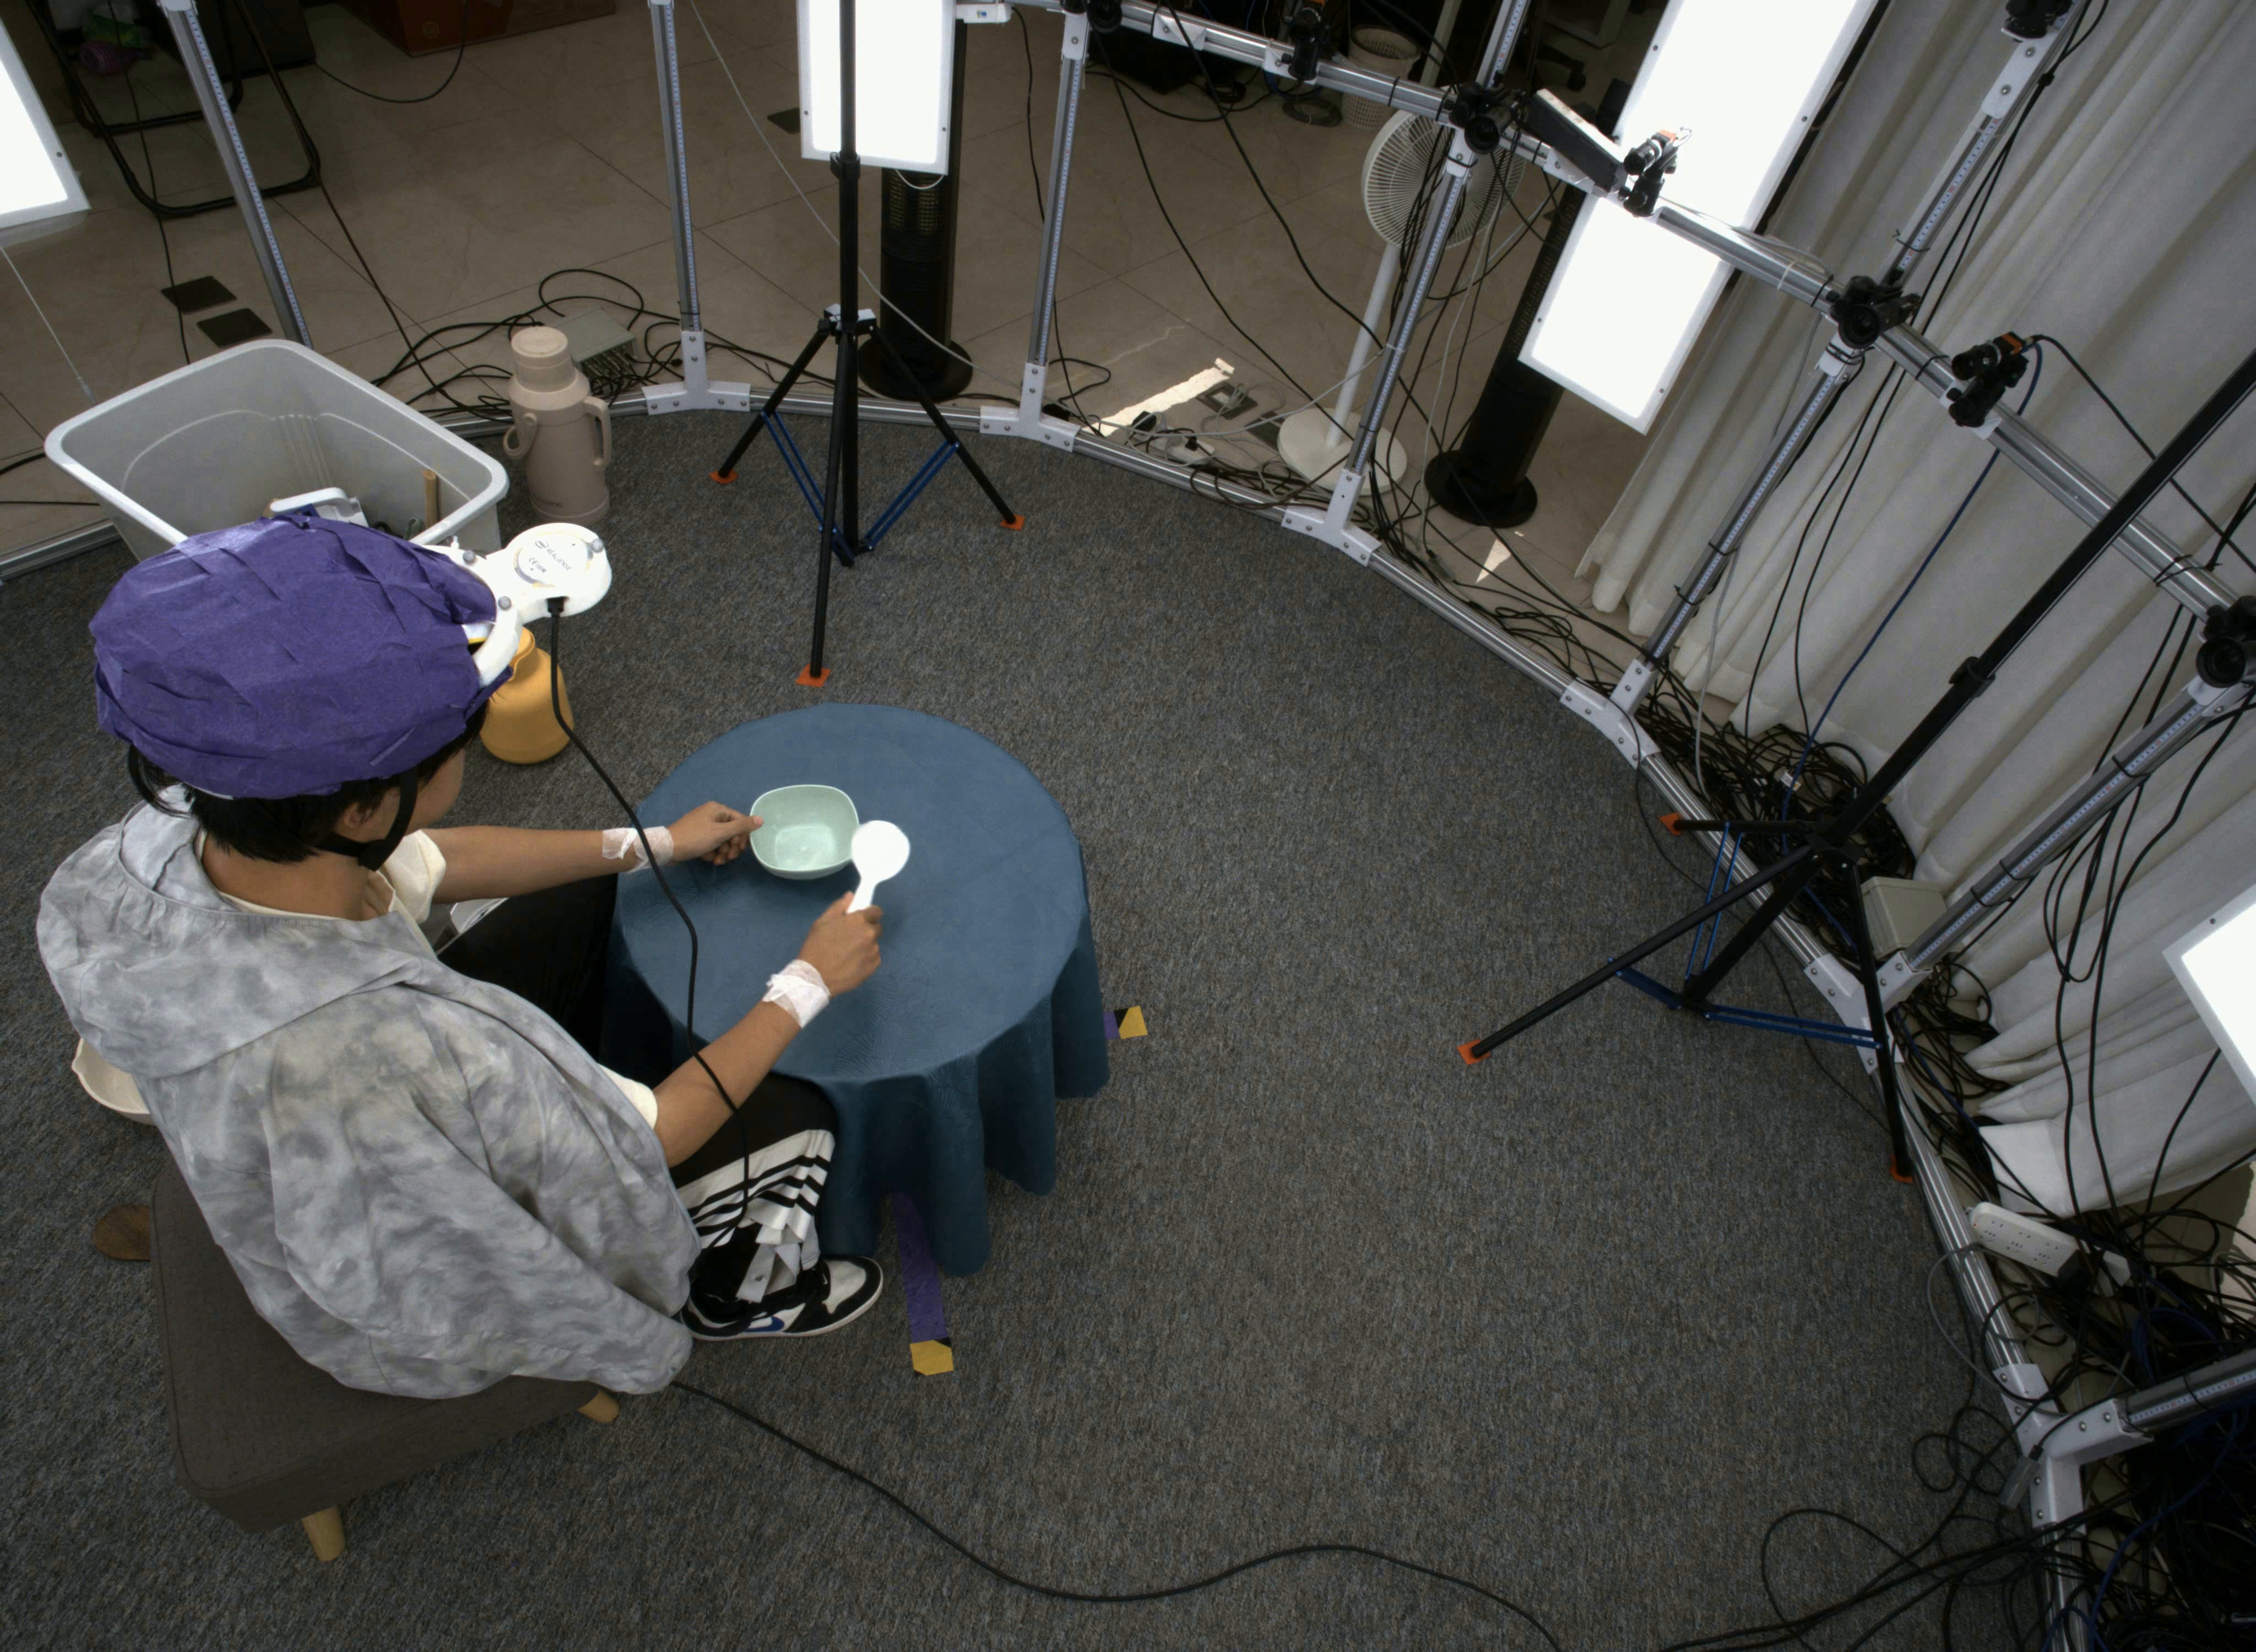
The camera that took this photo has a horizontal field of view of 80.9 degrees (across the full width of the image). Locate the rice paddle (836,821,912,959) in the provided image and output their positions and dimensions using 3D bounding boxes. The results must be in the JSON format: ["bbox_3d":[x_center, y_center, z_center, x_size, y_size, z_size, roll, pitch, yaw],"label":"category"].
[{"bbox_3d":[-0.310,0.069,1.574,0.069,0.029,0.202,24,48,-15],"label":"rice paddle"}]

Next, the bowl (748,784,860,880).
[{"bbox_3d":[-0.419,0.017,1.677,0.151,0.060,0.149,9,52,-10],"label":"bowl"}]
